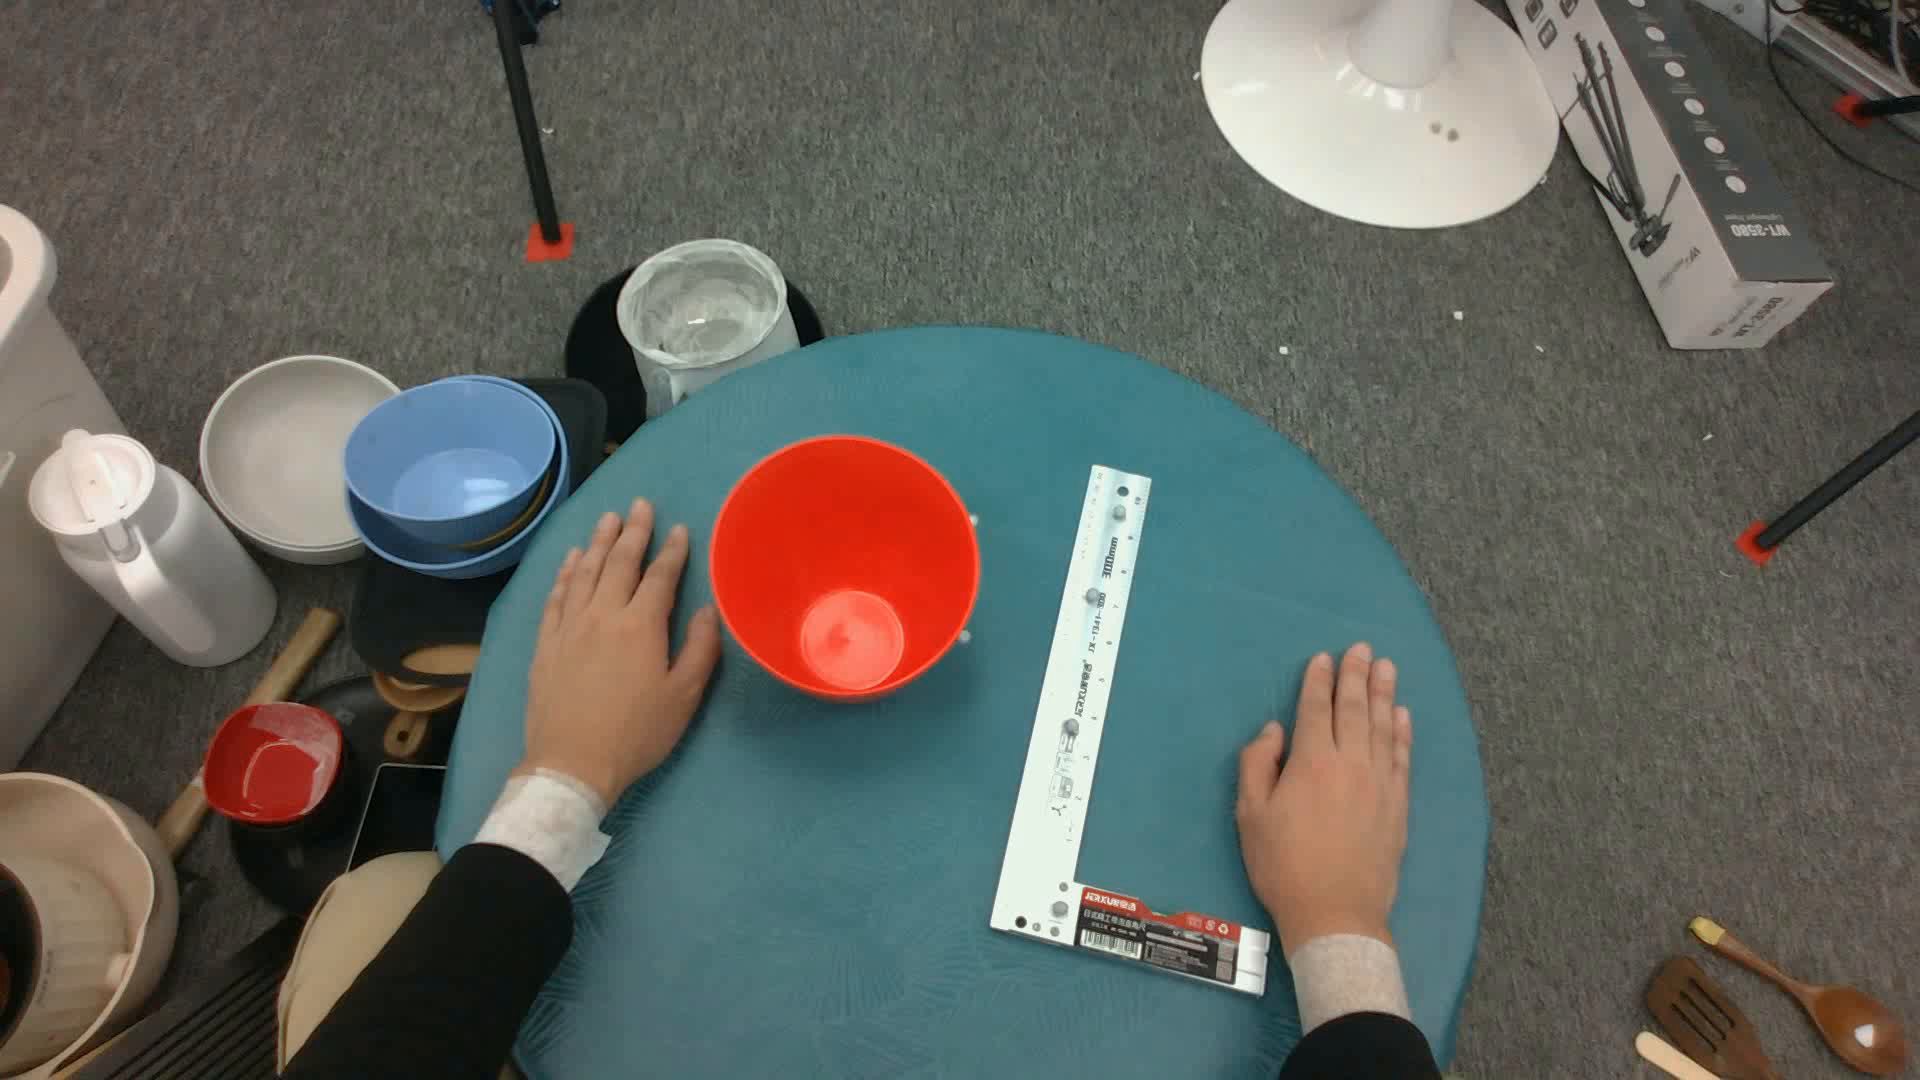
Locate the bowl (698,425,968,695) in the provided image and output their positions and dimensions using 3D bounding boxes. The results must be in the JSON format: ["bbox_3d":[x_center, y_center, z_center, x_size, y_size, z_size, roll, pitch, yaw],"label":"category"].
[{"bbox_3d":[-0.072,0.024,0.787,0.148,0.104,0.148,3,62,-6],"label":"bowl"}]

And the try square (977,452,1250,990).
[{"bbox_3d":[0.114,0.095,0.825,0.152,0.016,0.314,16,60,-3],"label":"try square"}]
